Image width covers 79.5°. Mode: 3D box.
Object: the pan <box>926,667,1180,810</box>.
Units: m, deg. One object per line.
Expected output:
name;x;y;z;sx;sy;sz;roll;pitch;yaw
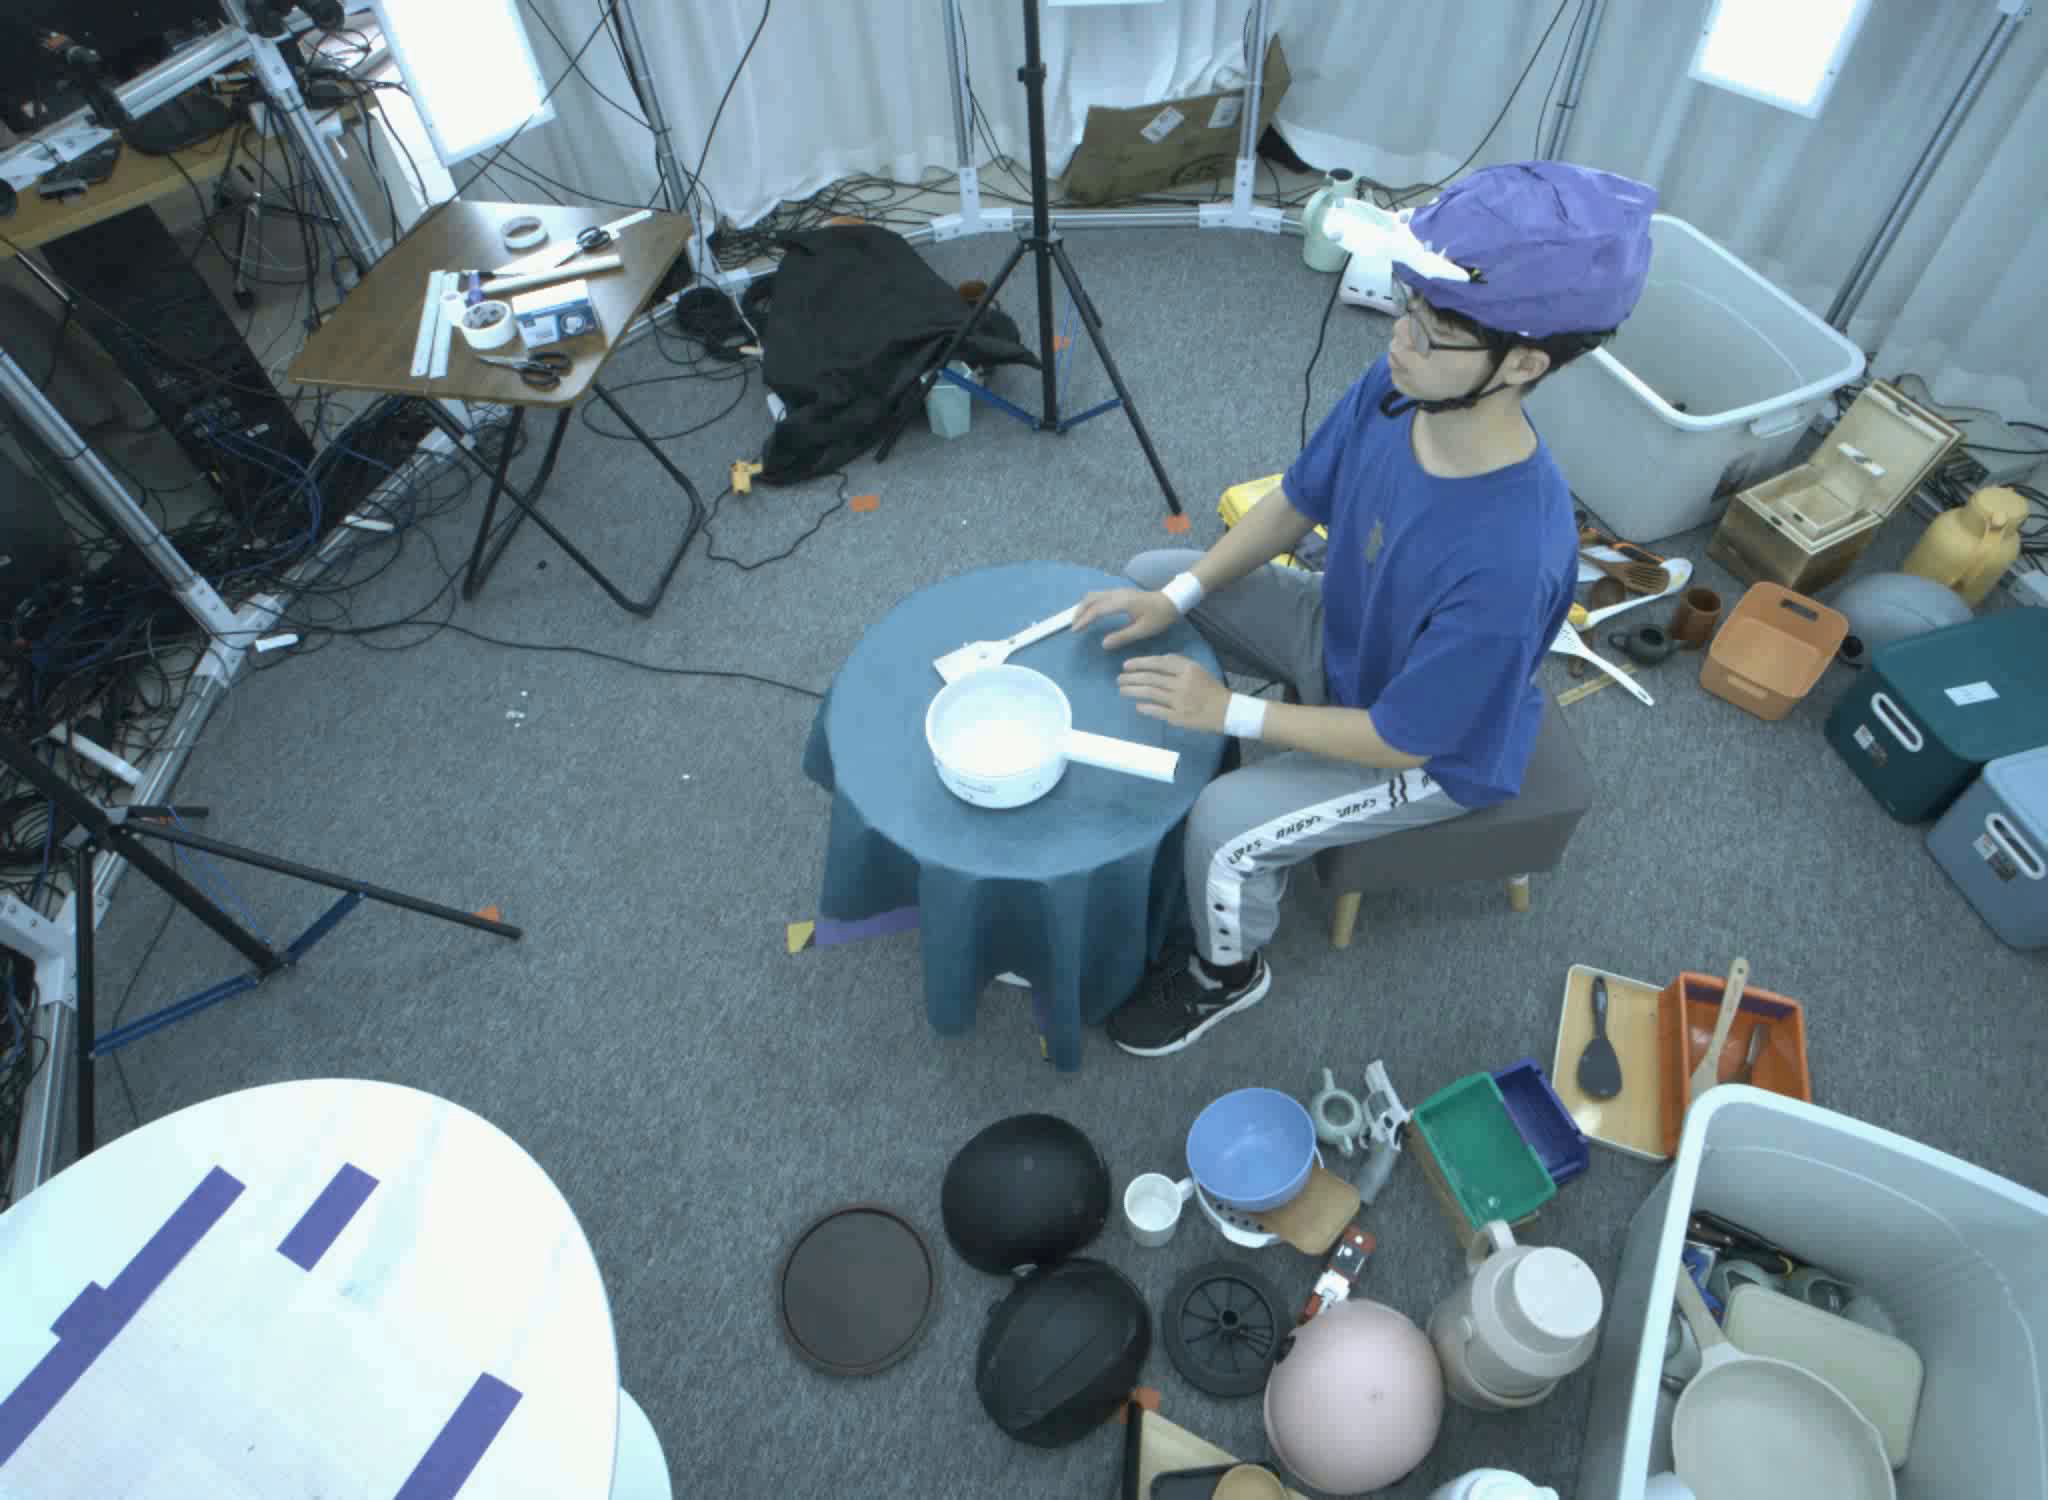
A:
pan;0.040;0.005;1.713;0.351;0.103;0.201;13;54;12

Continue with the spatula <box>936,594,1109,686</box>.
spatula;0.004;-0.175;1.897;0.295;0.011;0.071;-27;57;-16
